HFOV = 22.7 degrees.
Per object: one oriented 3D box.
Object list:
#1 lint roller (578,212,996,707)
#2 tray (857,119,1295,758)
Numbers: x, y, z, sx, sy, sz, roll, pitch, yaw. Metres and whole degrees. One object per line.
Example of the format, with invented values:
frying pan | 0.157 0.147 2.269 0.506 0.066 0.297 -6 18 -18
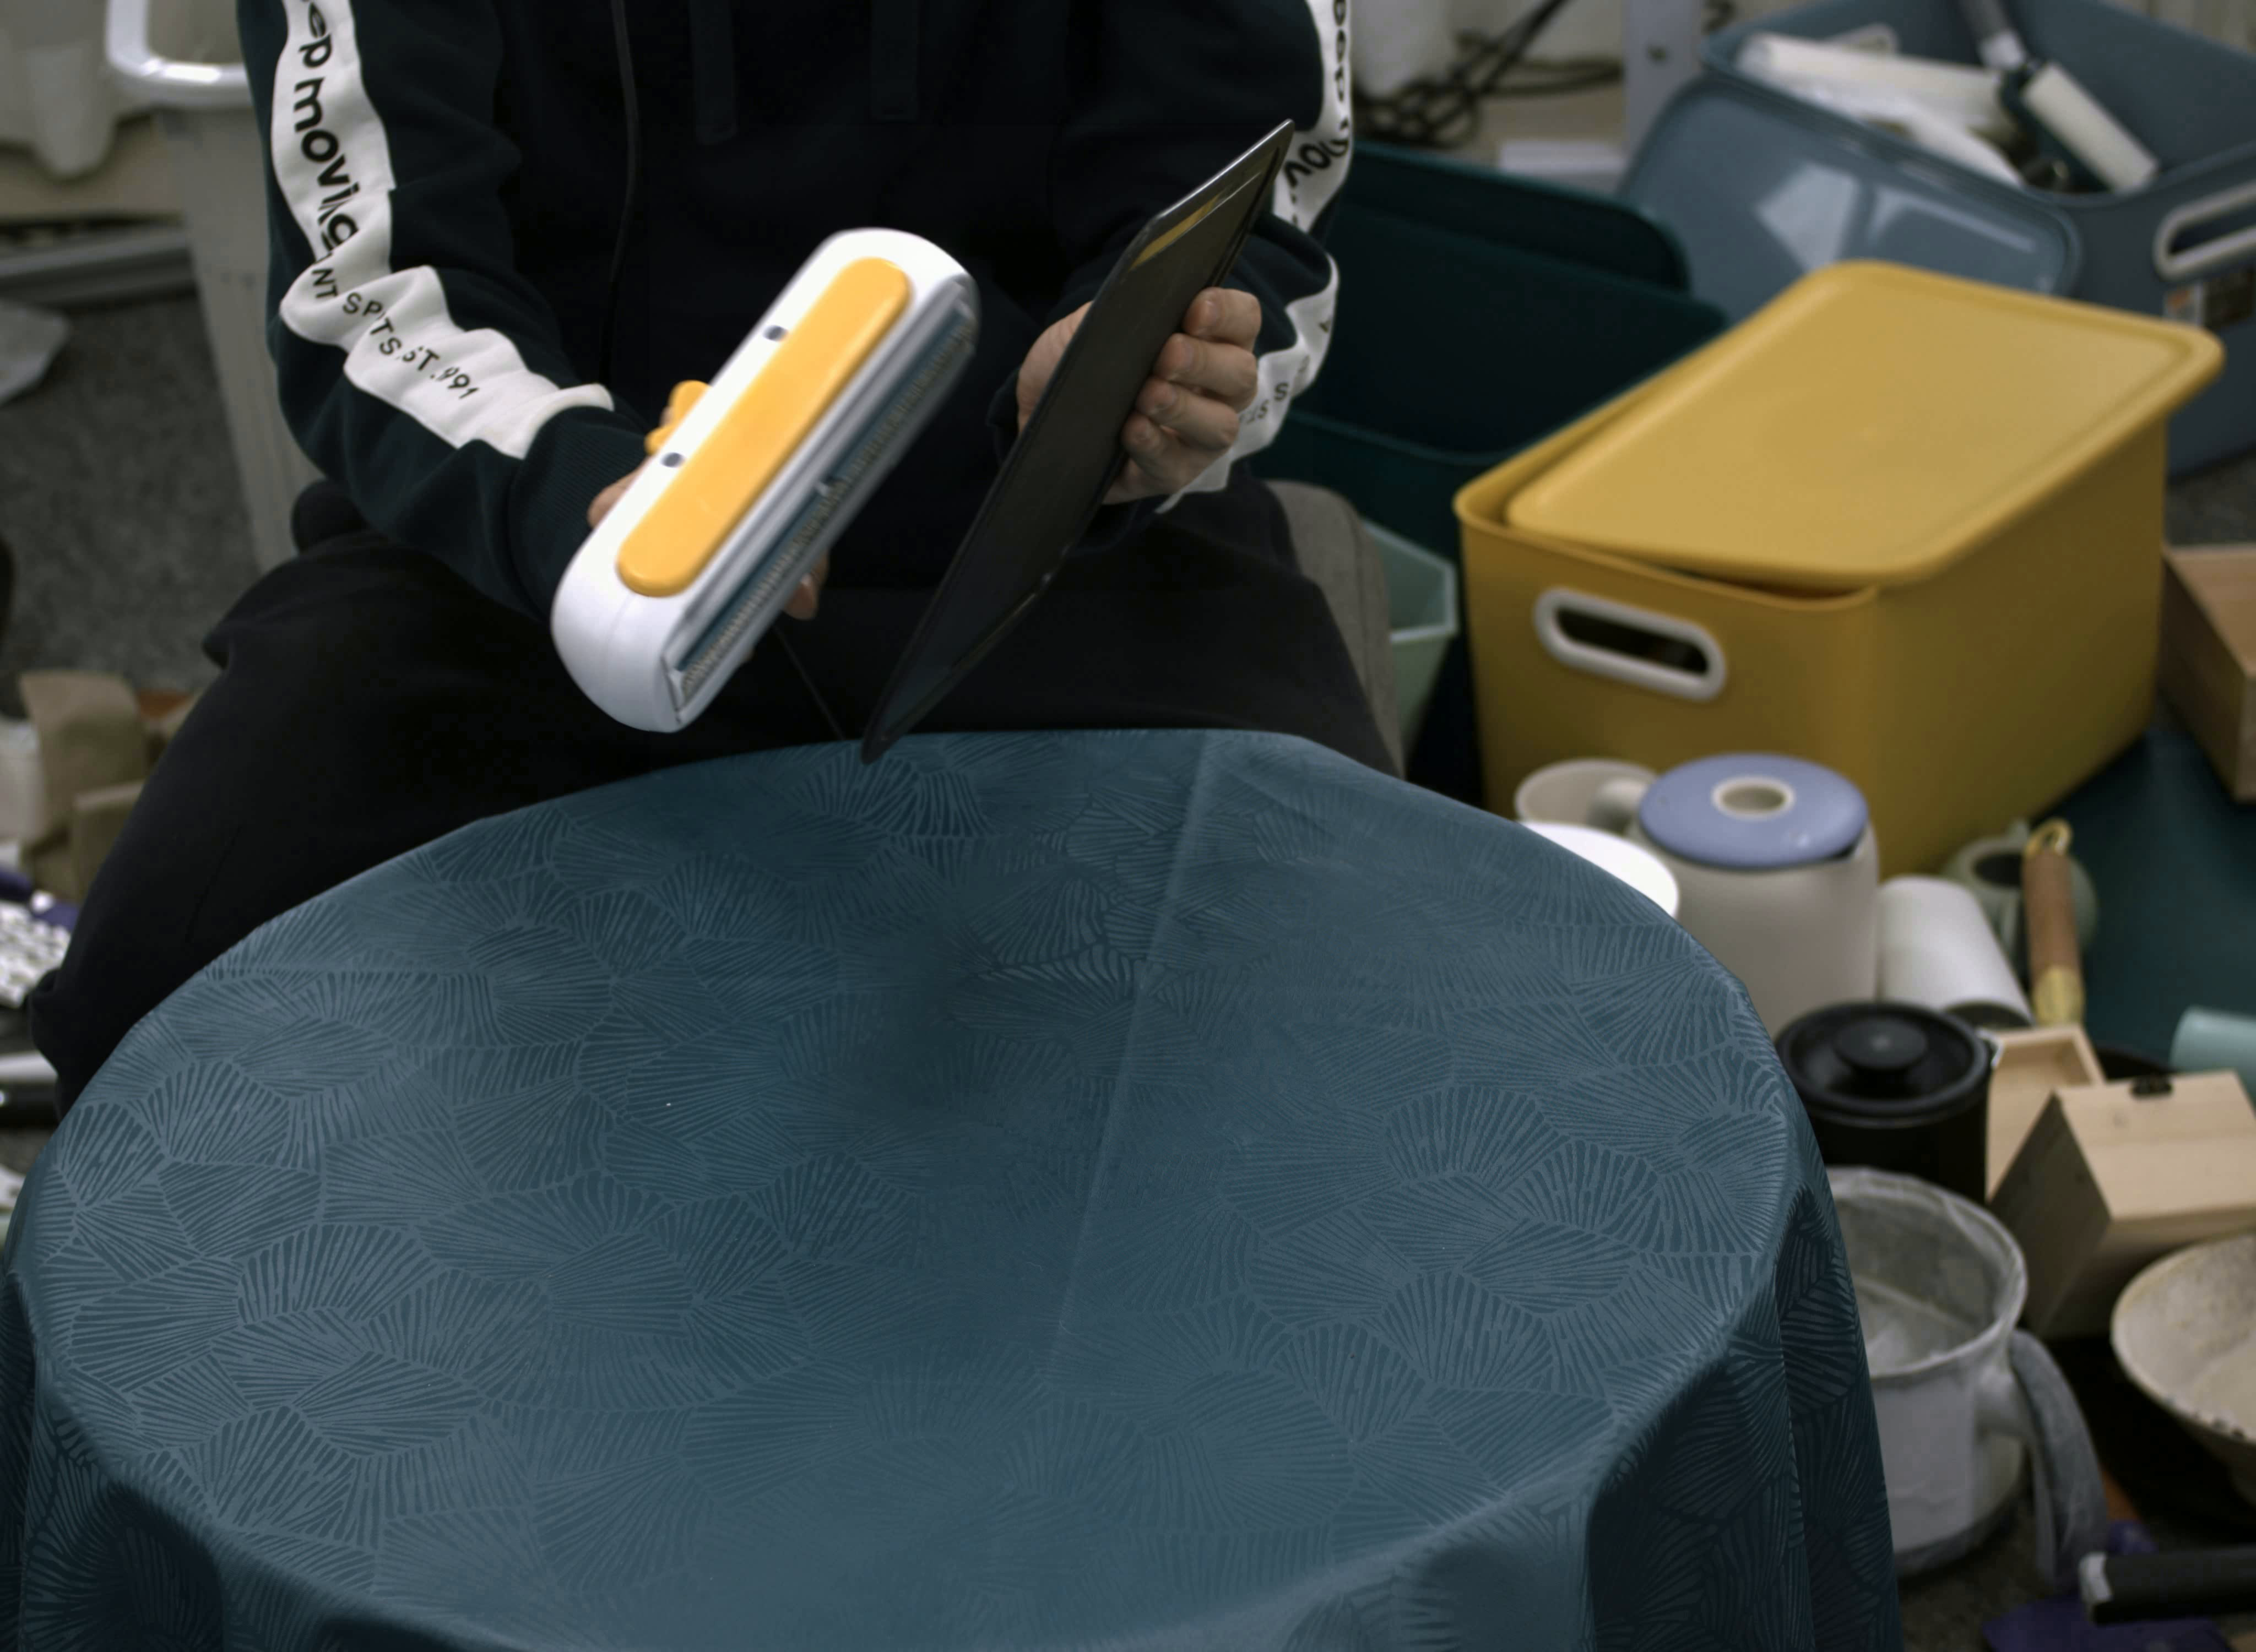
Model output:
lint roller | -0.121 -0.095 1.886 0.074 0.189 0.196 27 60 9
tray | -0.011 -0.139 1.936 0.010 0.209 0.329 30 18 4
